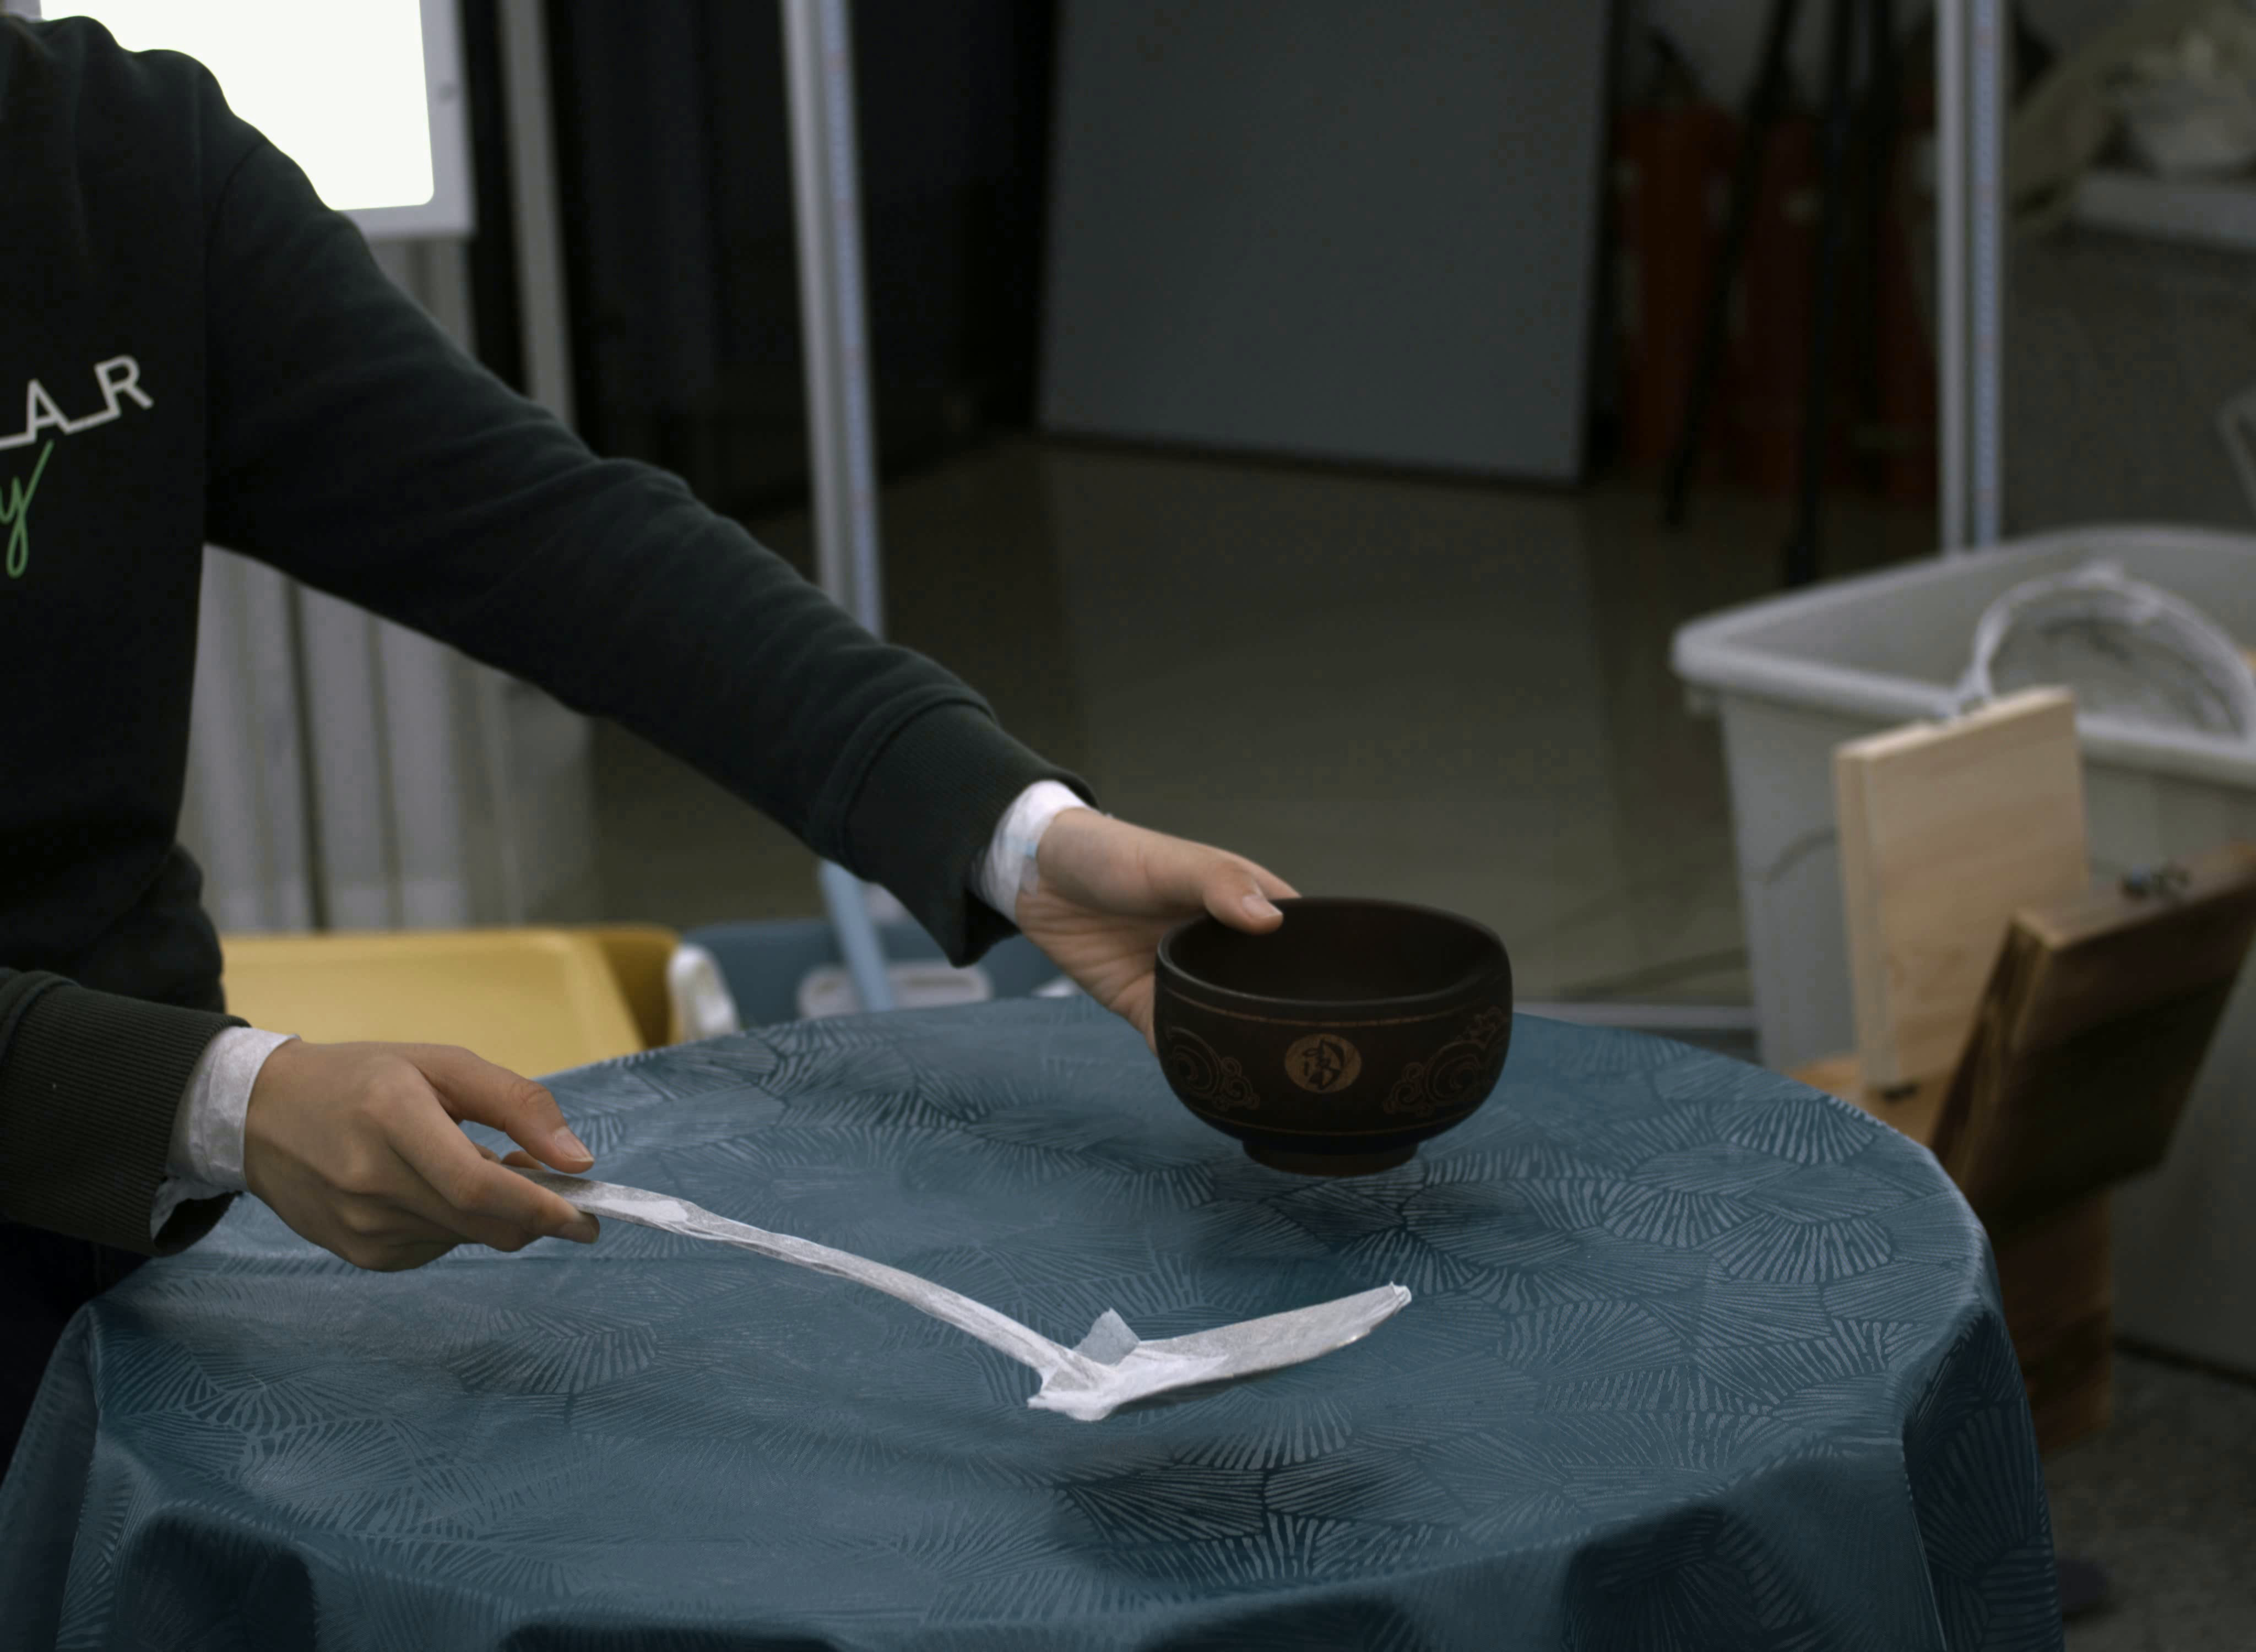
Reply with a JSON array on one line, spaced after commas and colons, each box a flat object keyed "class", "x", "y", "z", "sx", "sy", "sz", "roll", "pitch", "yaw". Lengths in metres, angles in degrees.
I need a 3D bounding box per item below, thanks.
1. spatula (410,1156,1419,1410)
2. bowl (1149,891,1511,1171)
[{"class": "spatula", "x": -0.082, "y": 0.122, "z": 1.573, "sx": 0.367, "sy": 0.045, "sz": 0.097, "roll": 12, "pitch": 20, "yaw": 35}, {"class": "bowl", "x": 0.065, "y": 0.069, "z": 1.731, "sx": 0.116, "sy": 0.070, "sz": 0.118, "roll": -1, "pitch": 14, "yaw": -1}]
